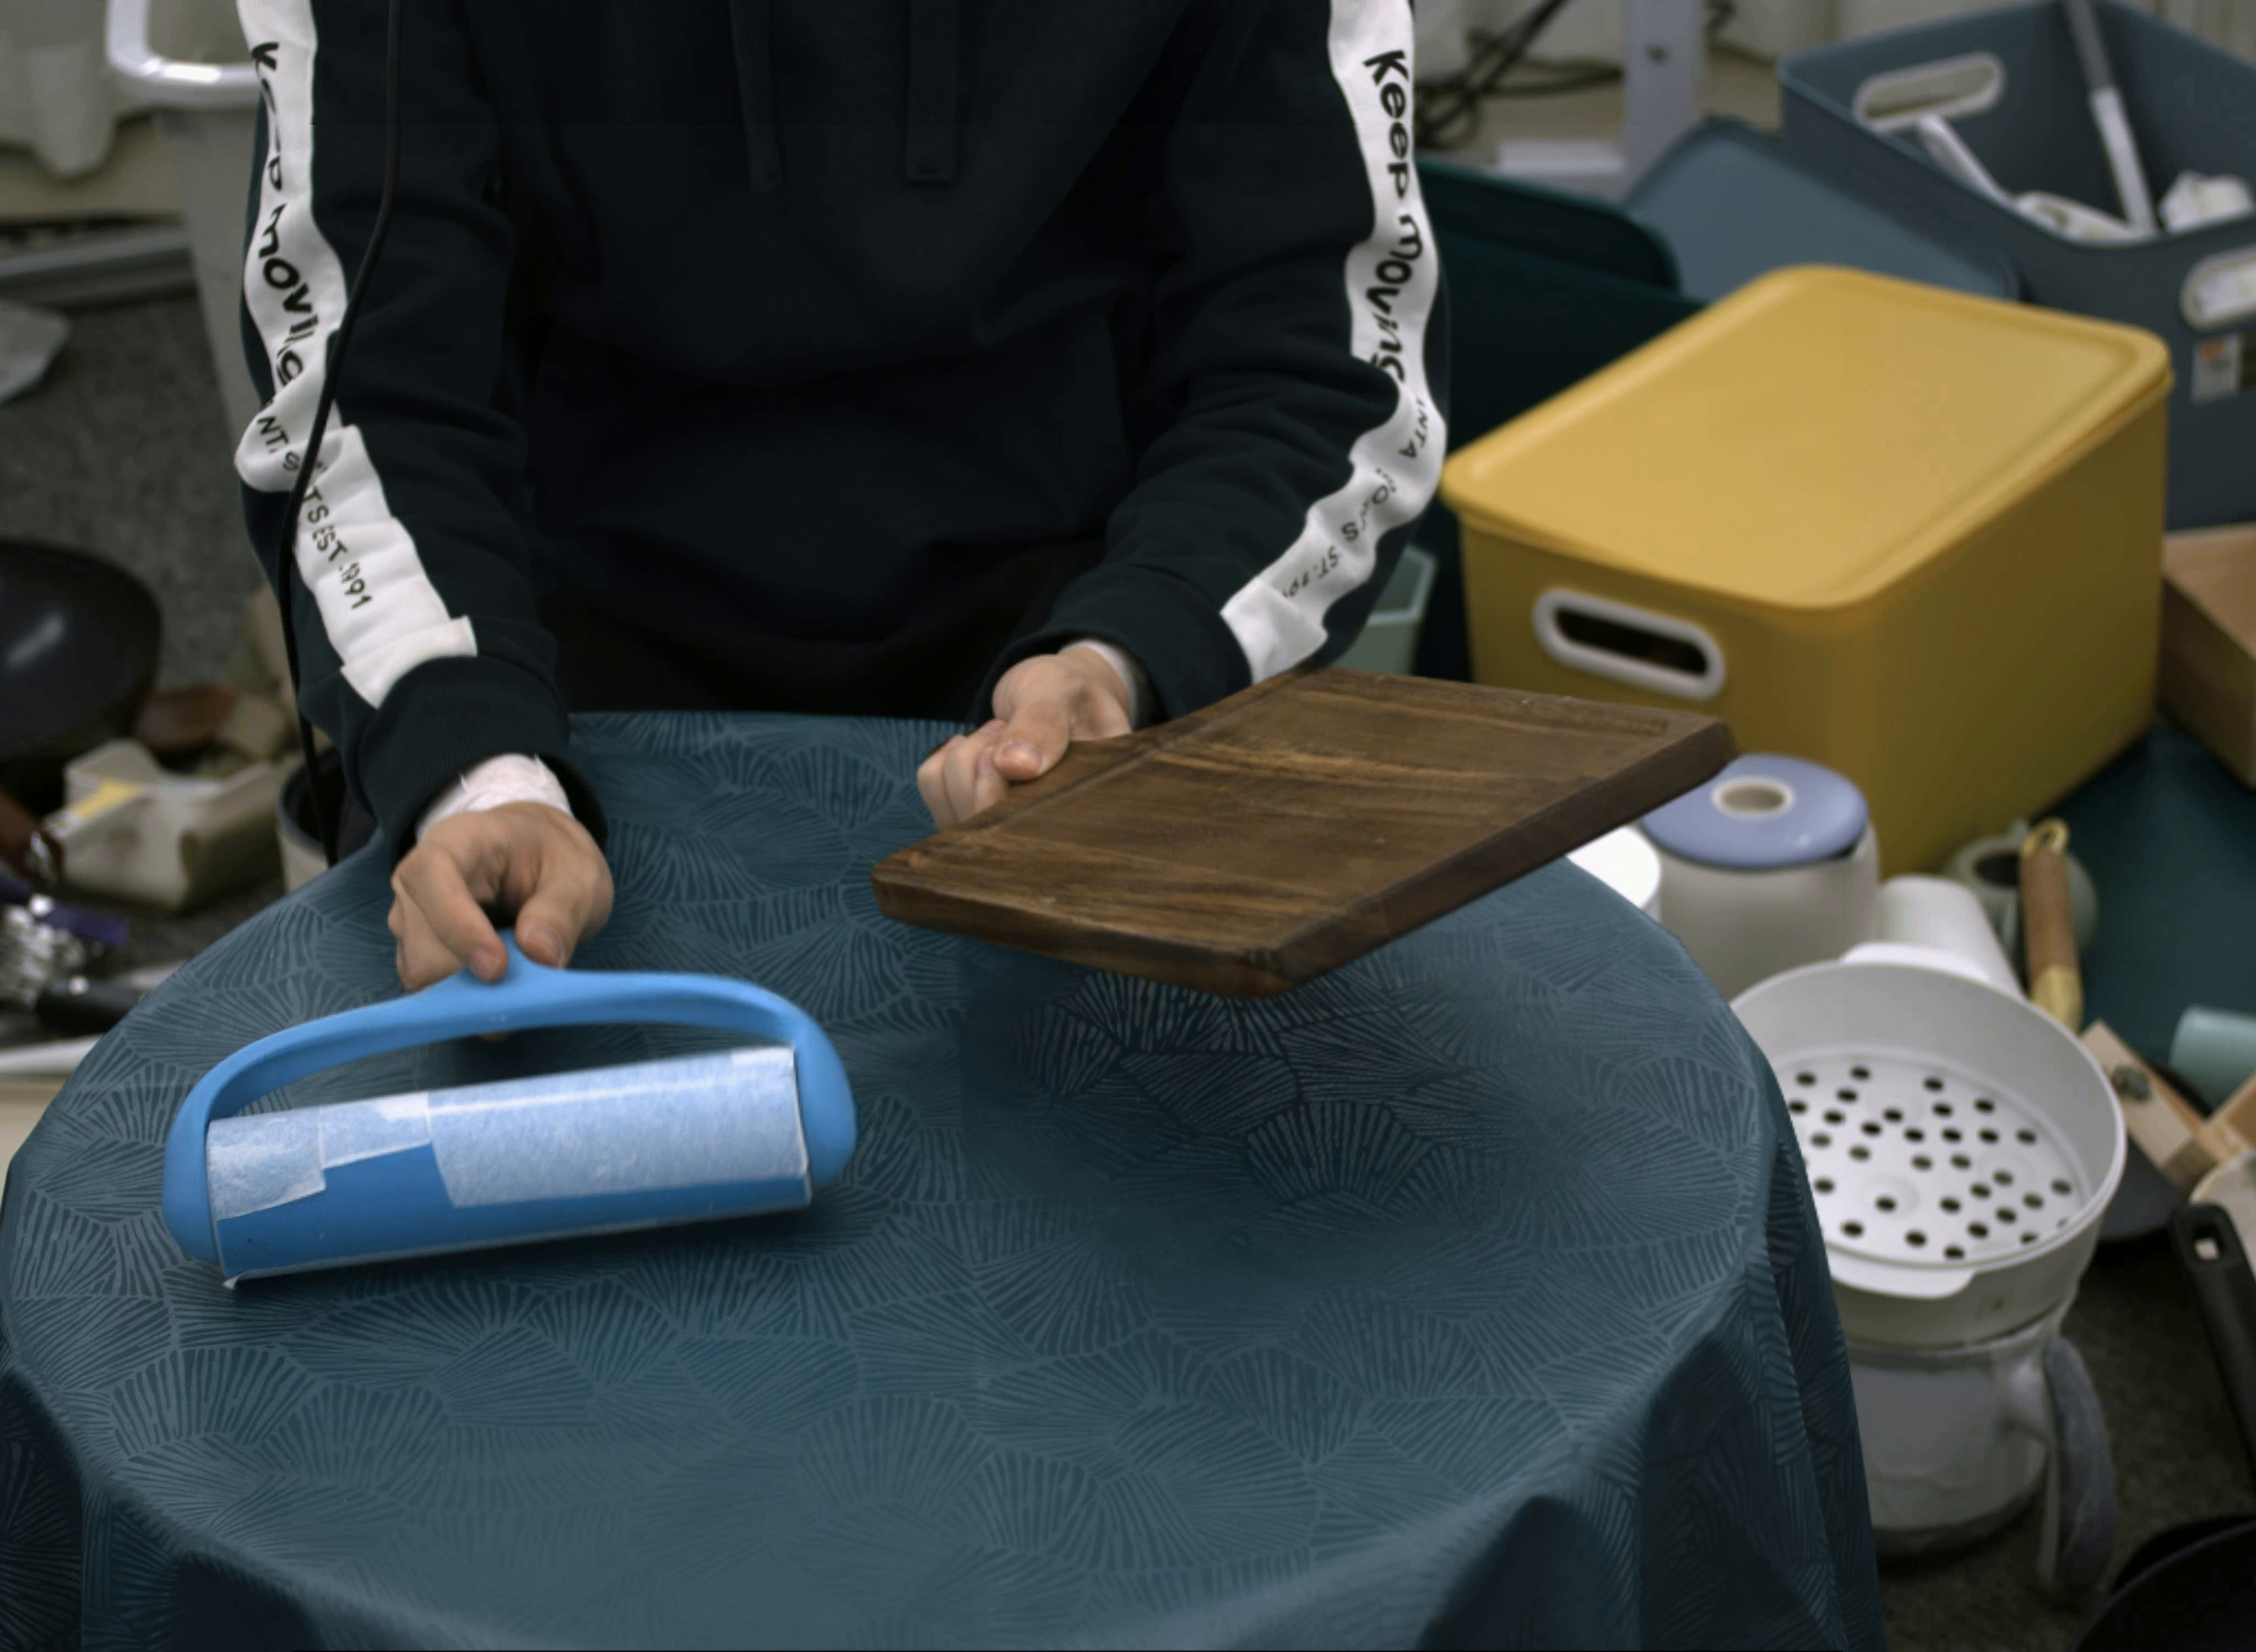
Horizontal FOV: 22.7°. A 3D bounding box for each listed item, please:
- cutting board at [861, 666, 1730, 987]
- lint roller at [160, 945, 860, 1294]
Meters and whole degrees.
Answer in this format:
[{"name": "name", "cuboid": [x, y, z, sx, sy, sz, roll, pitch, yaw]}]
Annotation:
[{"name": "cutting board", "cuboid": [0.026, -0.008, 1.917, 0.203, 0.023, 0.350, -25, 17, -28]}, {"name": "lint roller", "cuboid": [-0.210, 0.080, 1.881, 0.228, 0.067, 0.183, -9, 35, -5]}]
